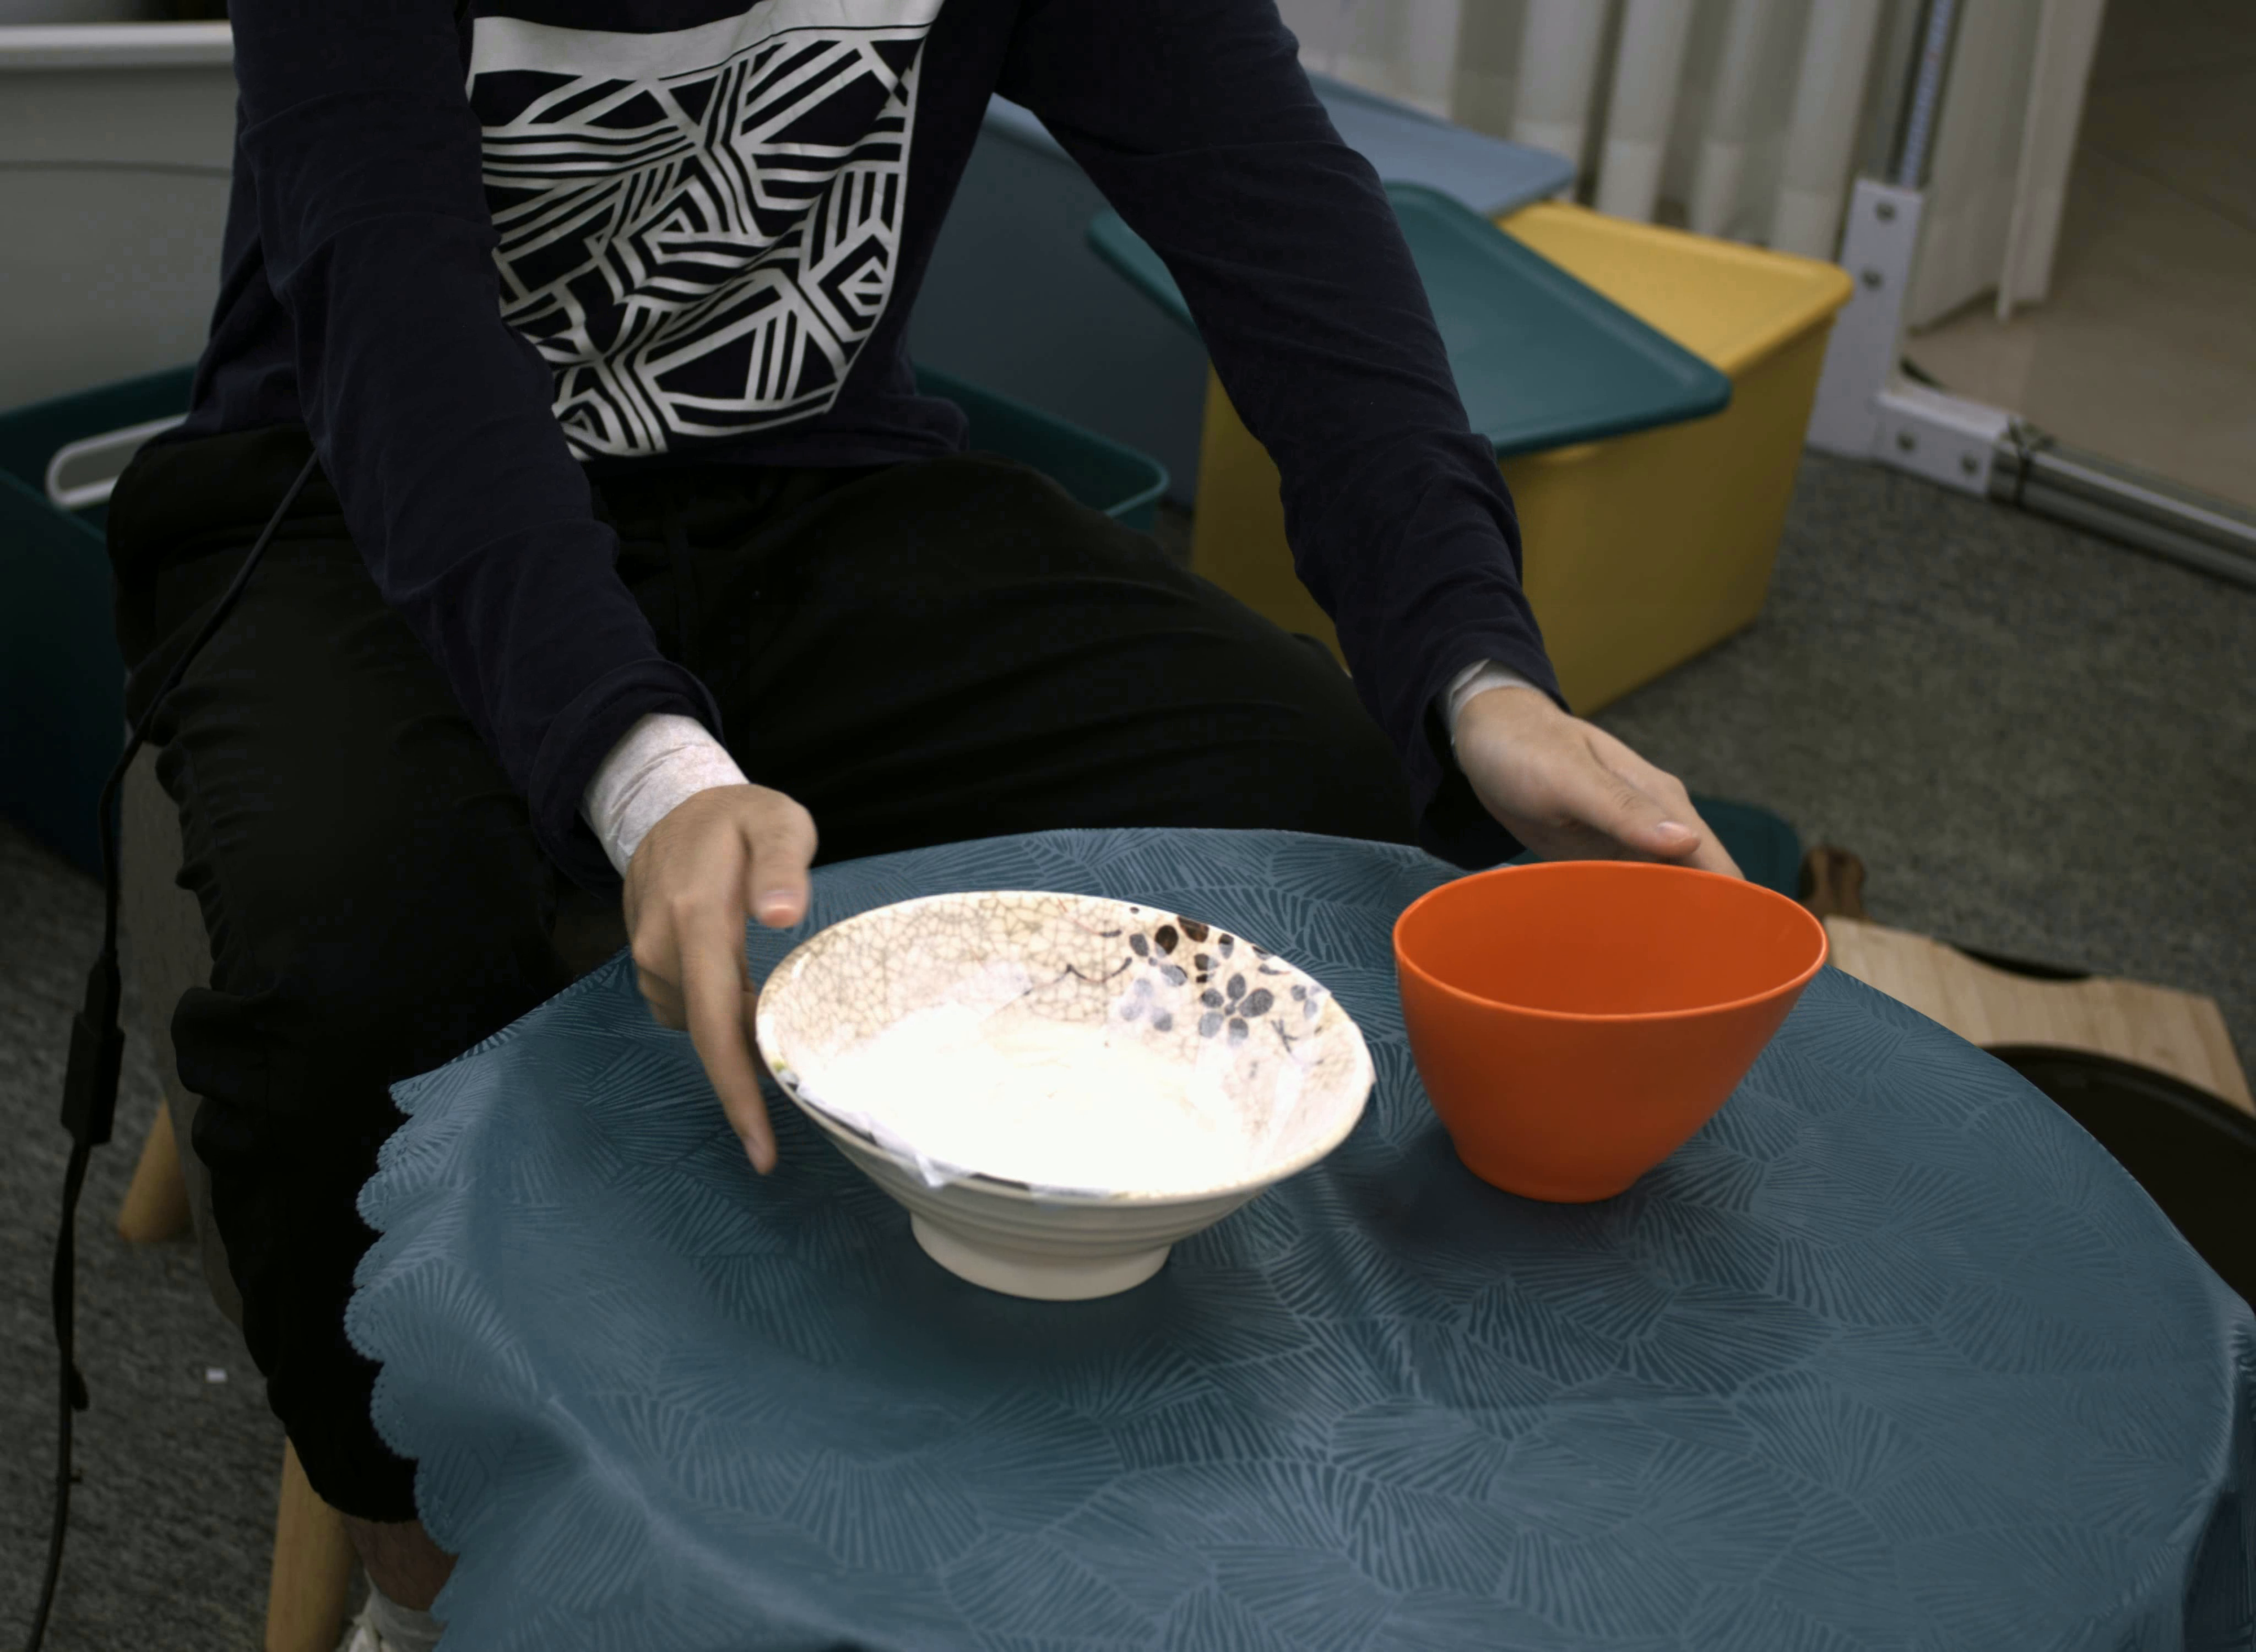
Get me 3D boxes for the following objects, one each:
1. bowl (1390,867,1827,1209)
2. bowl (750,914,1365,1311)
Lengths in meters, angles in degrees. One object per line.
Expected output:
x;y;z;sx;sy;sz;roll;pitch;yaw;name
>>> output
0.159;0.076;1.827;0.147;0.104;0.149;4;25;-2;bowl
-0.027;0.106;1.757;0.203;0.078;0.205;5;23;-3;bowl
